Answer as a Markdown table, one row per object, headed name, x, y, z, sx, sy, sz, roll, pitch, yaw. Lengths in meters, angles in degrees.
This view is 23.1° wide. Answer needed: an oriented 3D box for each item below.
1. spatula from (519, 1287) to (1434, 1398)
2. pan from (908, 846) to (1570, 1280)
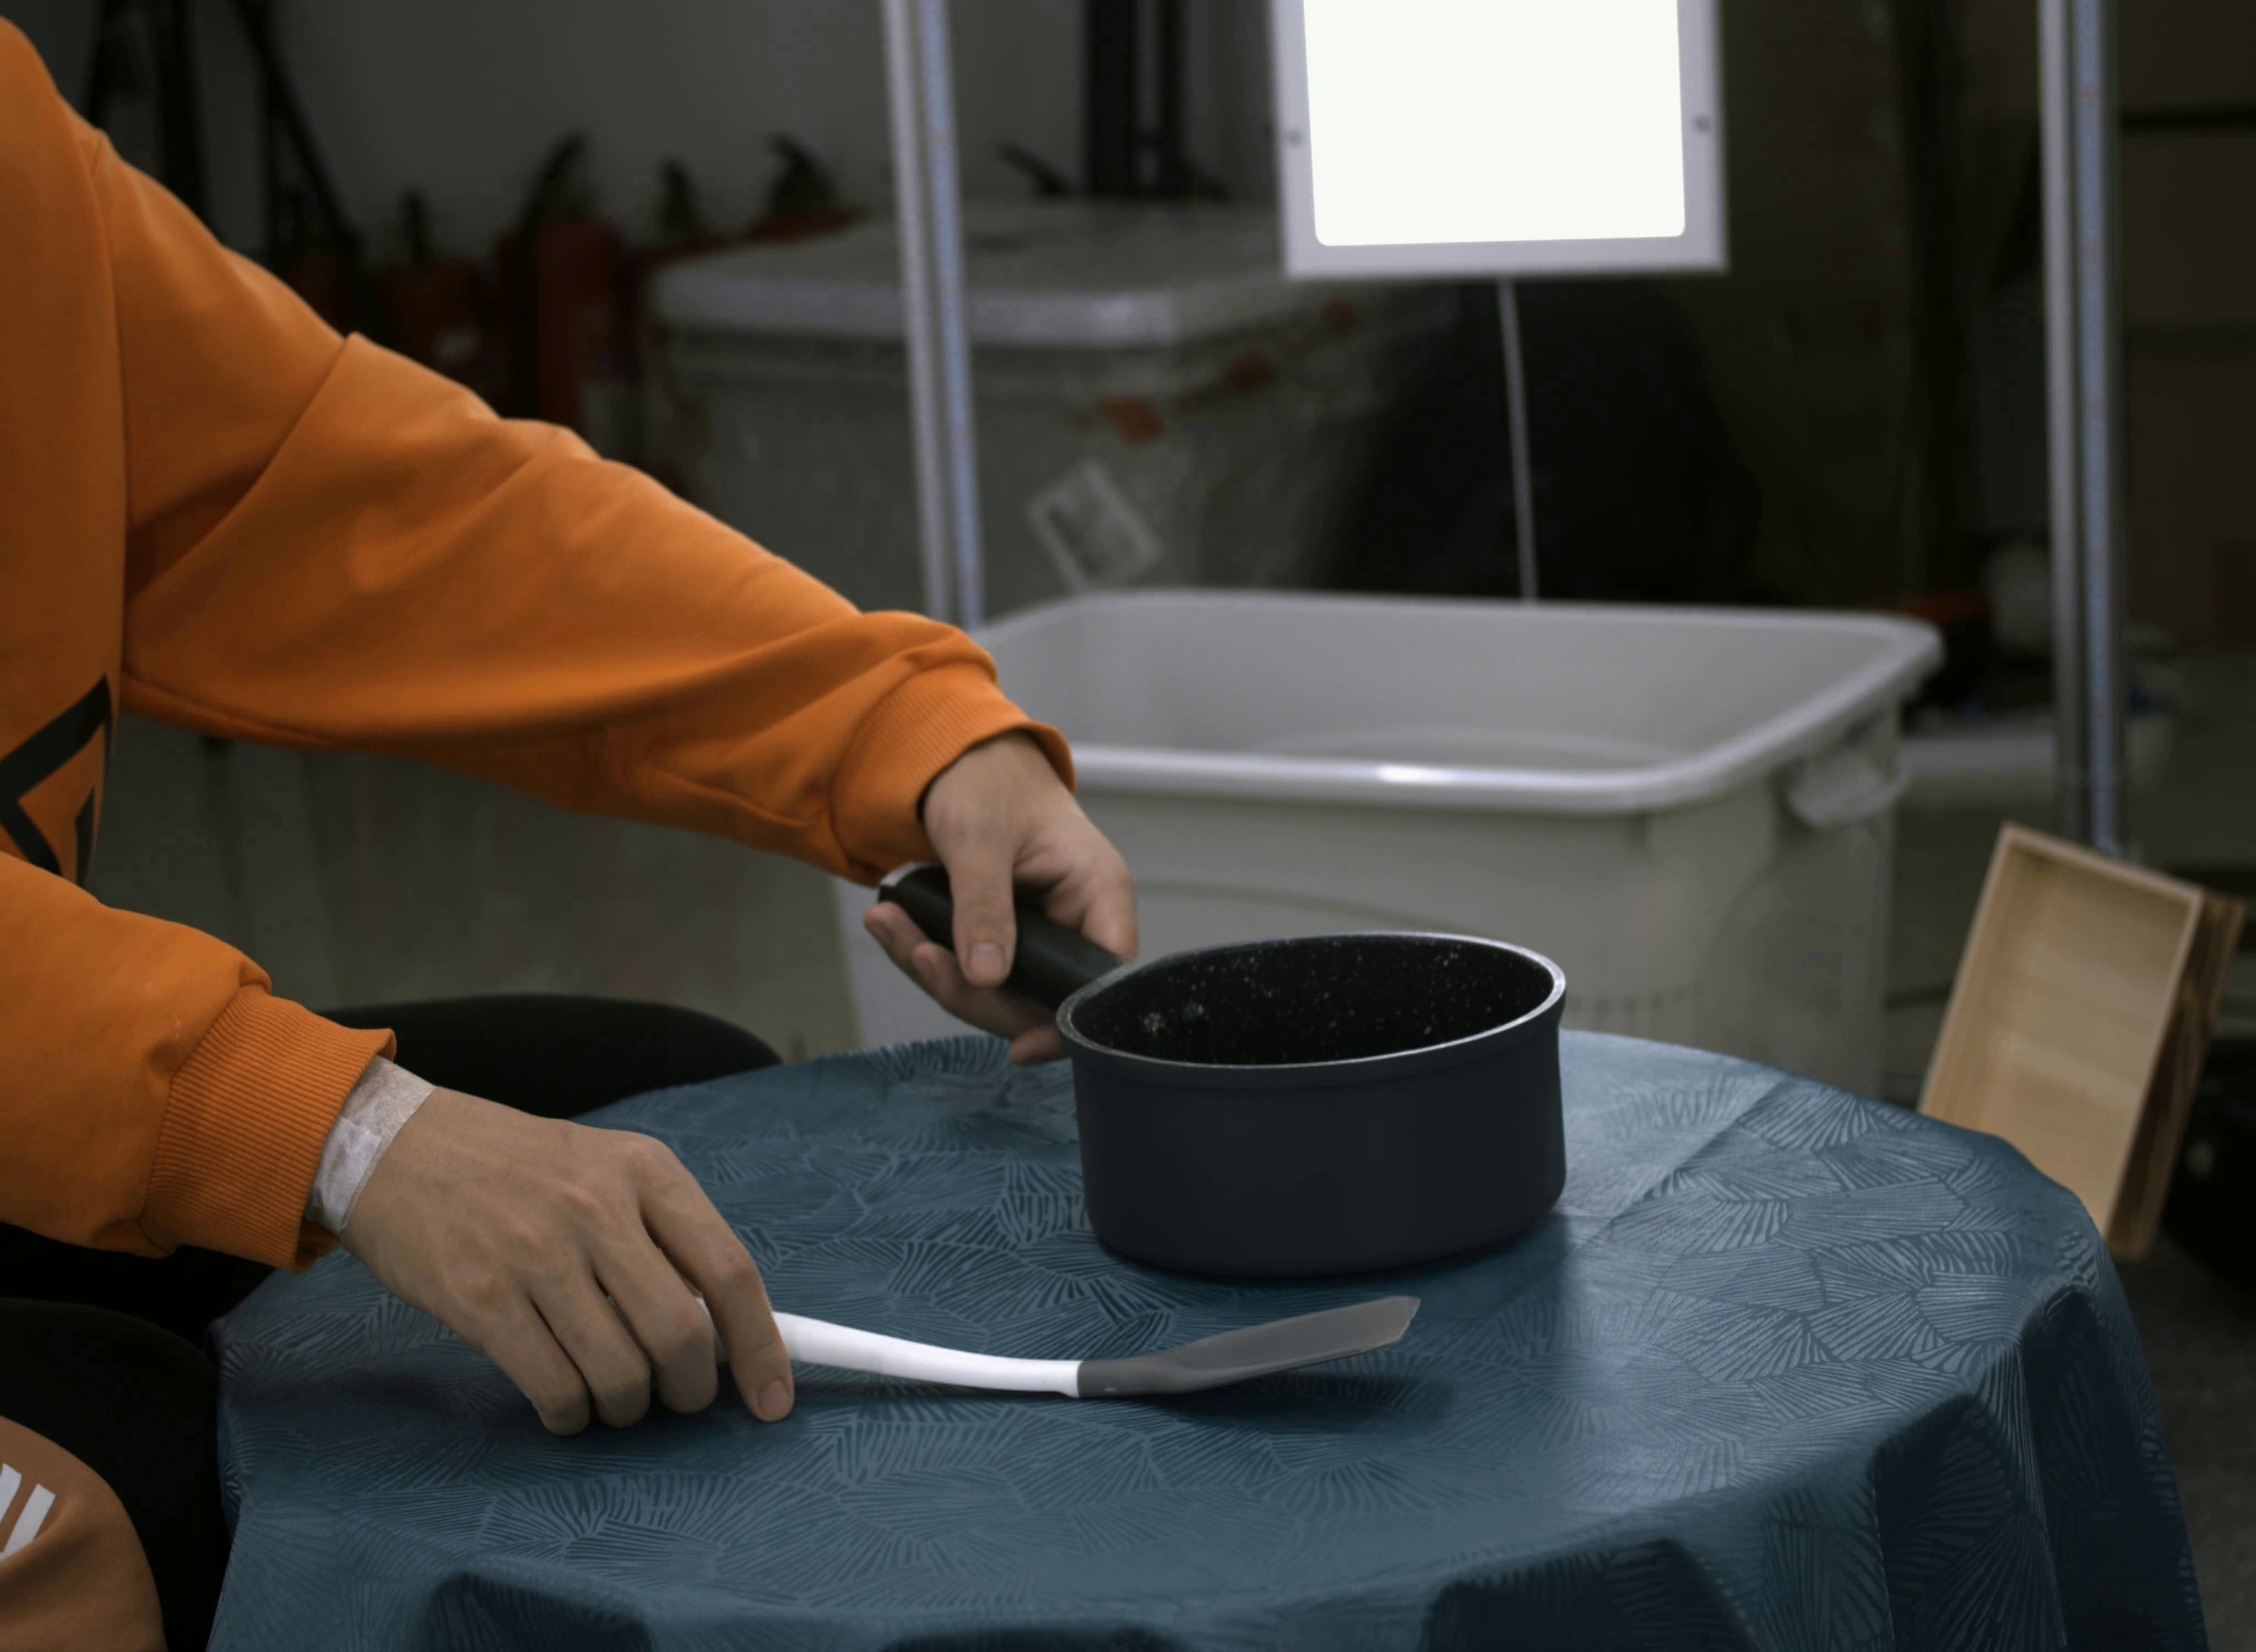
| name | x | y | z | sx | sy | sz | roll | pitch | yaw |
| --- | --- | --- | --- | --- | --- | --- | --- | --- | --- |
| spatula | -0.048 | 0.161 | 1.707 | 0.290 | 0.032 | 0.058 | -2 | 9 | 15 |
| pan | 0.020 | 0.077 | 1.912 | 0.168 | 0.087 | 0.335 | -12 | 16 | -30 |
